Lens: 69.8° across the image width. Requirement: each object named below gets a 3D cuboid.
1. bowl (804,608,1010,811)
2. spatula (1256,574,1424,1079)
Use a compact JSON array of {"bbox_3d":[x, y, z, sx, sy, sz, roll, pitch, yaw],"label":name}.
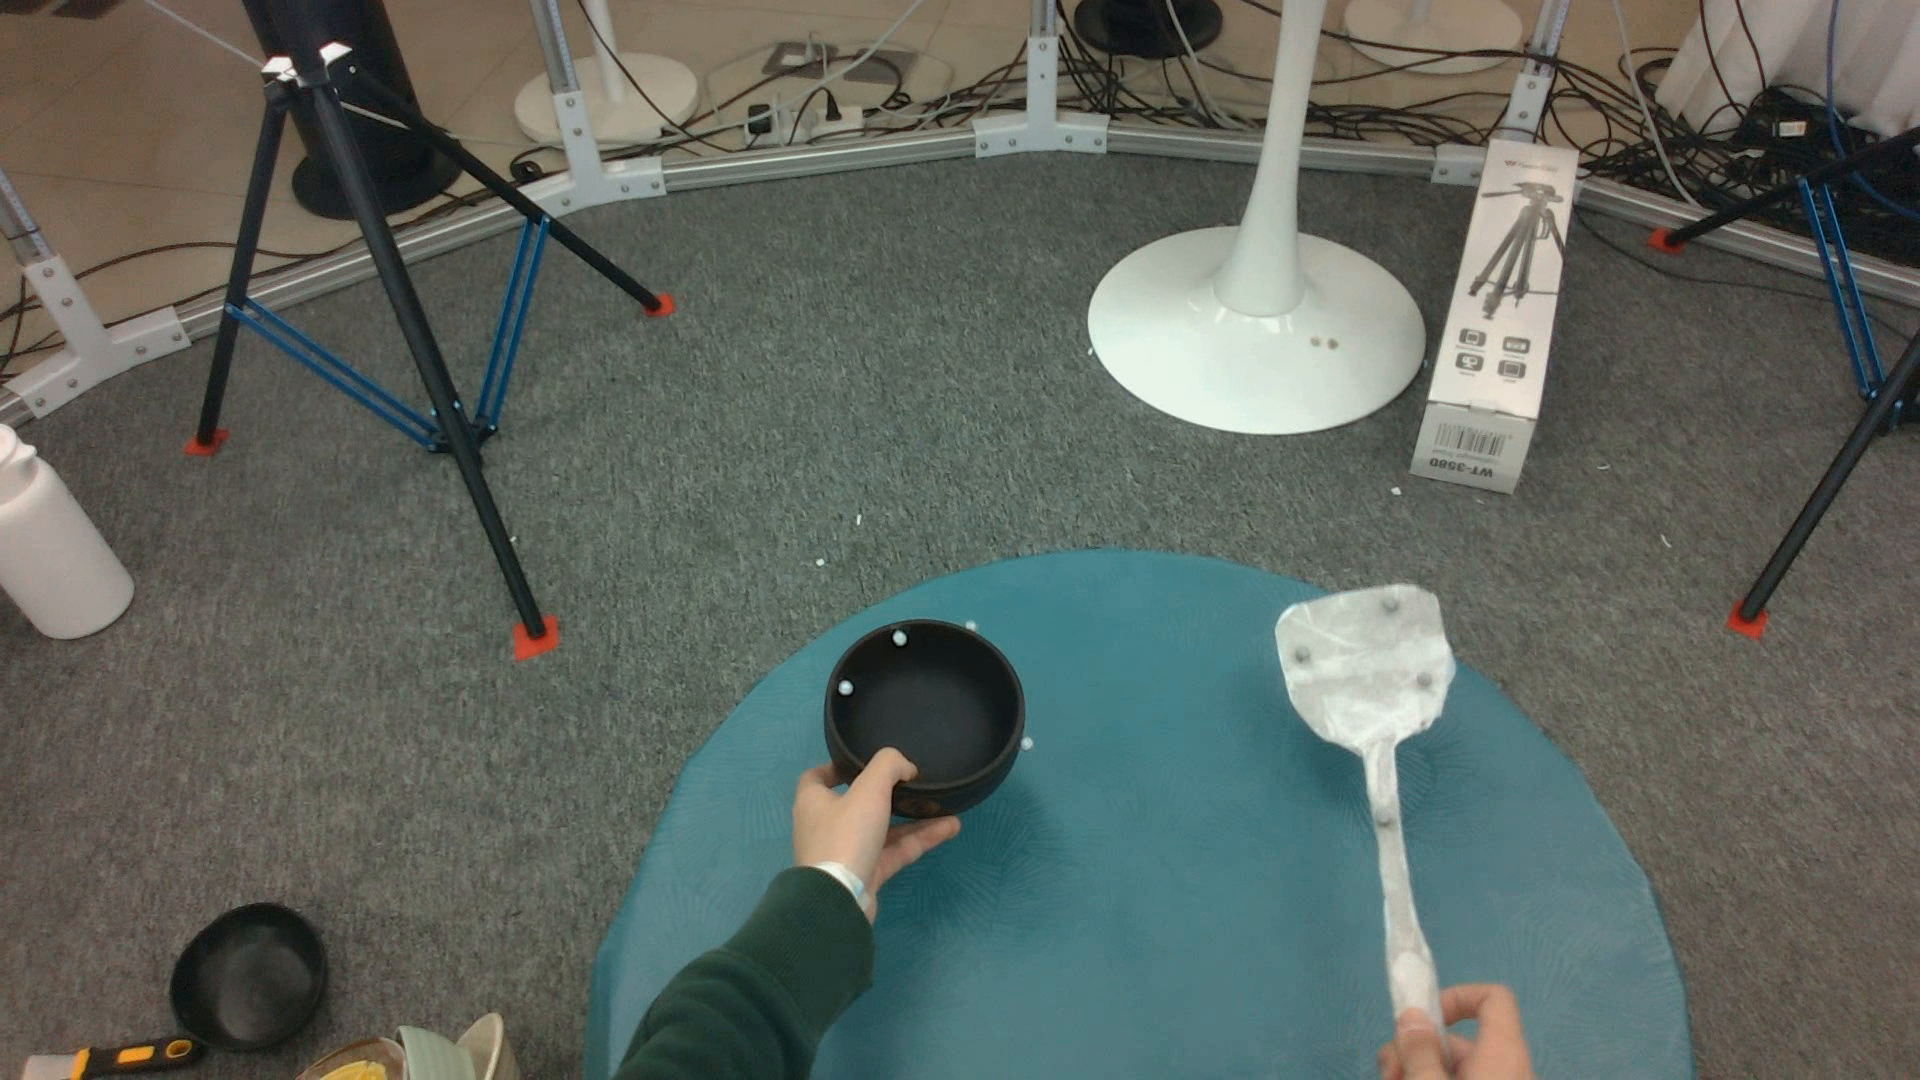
[{"bbox_3d":[-0.031,0.106,0.807,0.118,0.069,0.118,2,54,-2],"label":"bowl"},{"bbox_3d":[0.212,0.160,0.733,0.098,0.044,0.367,-9,39,18],"label":"spatula"}]
